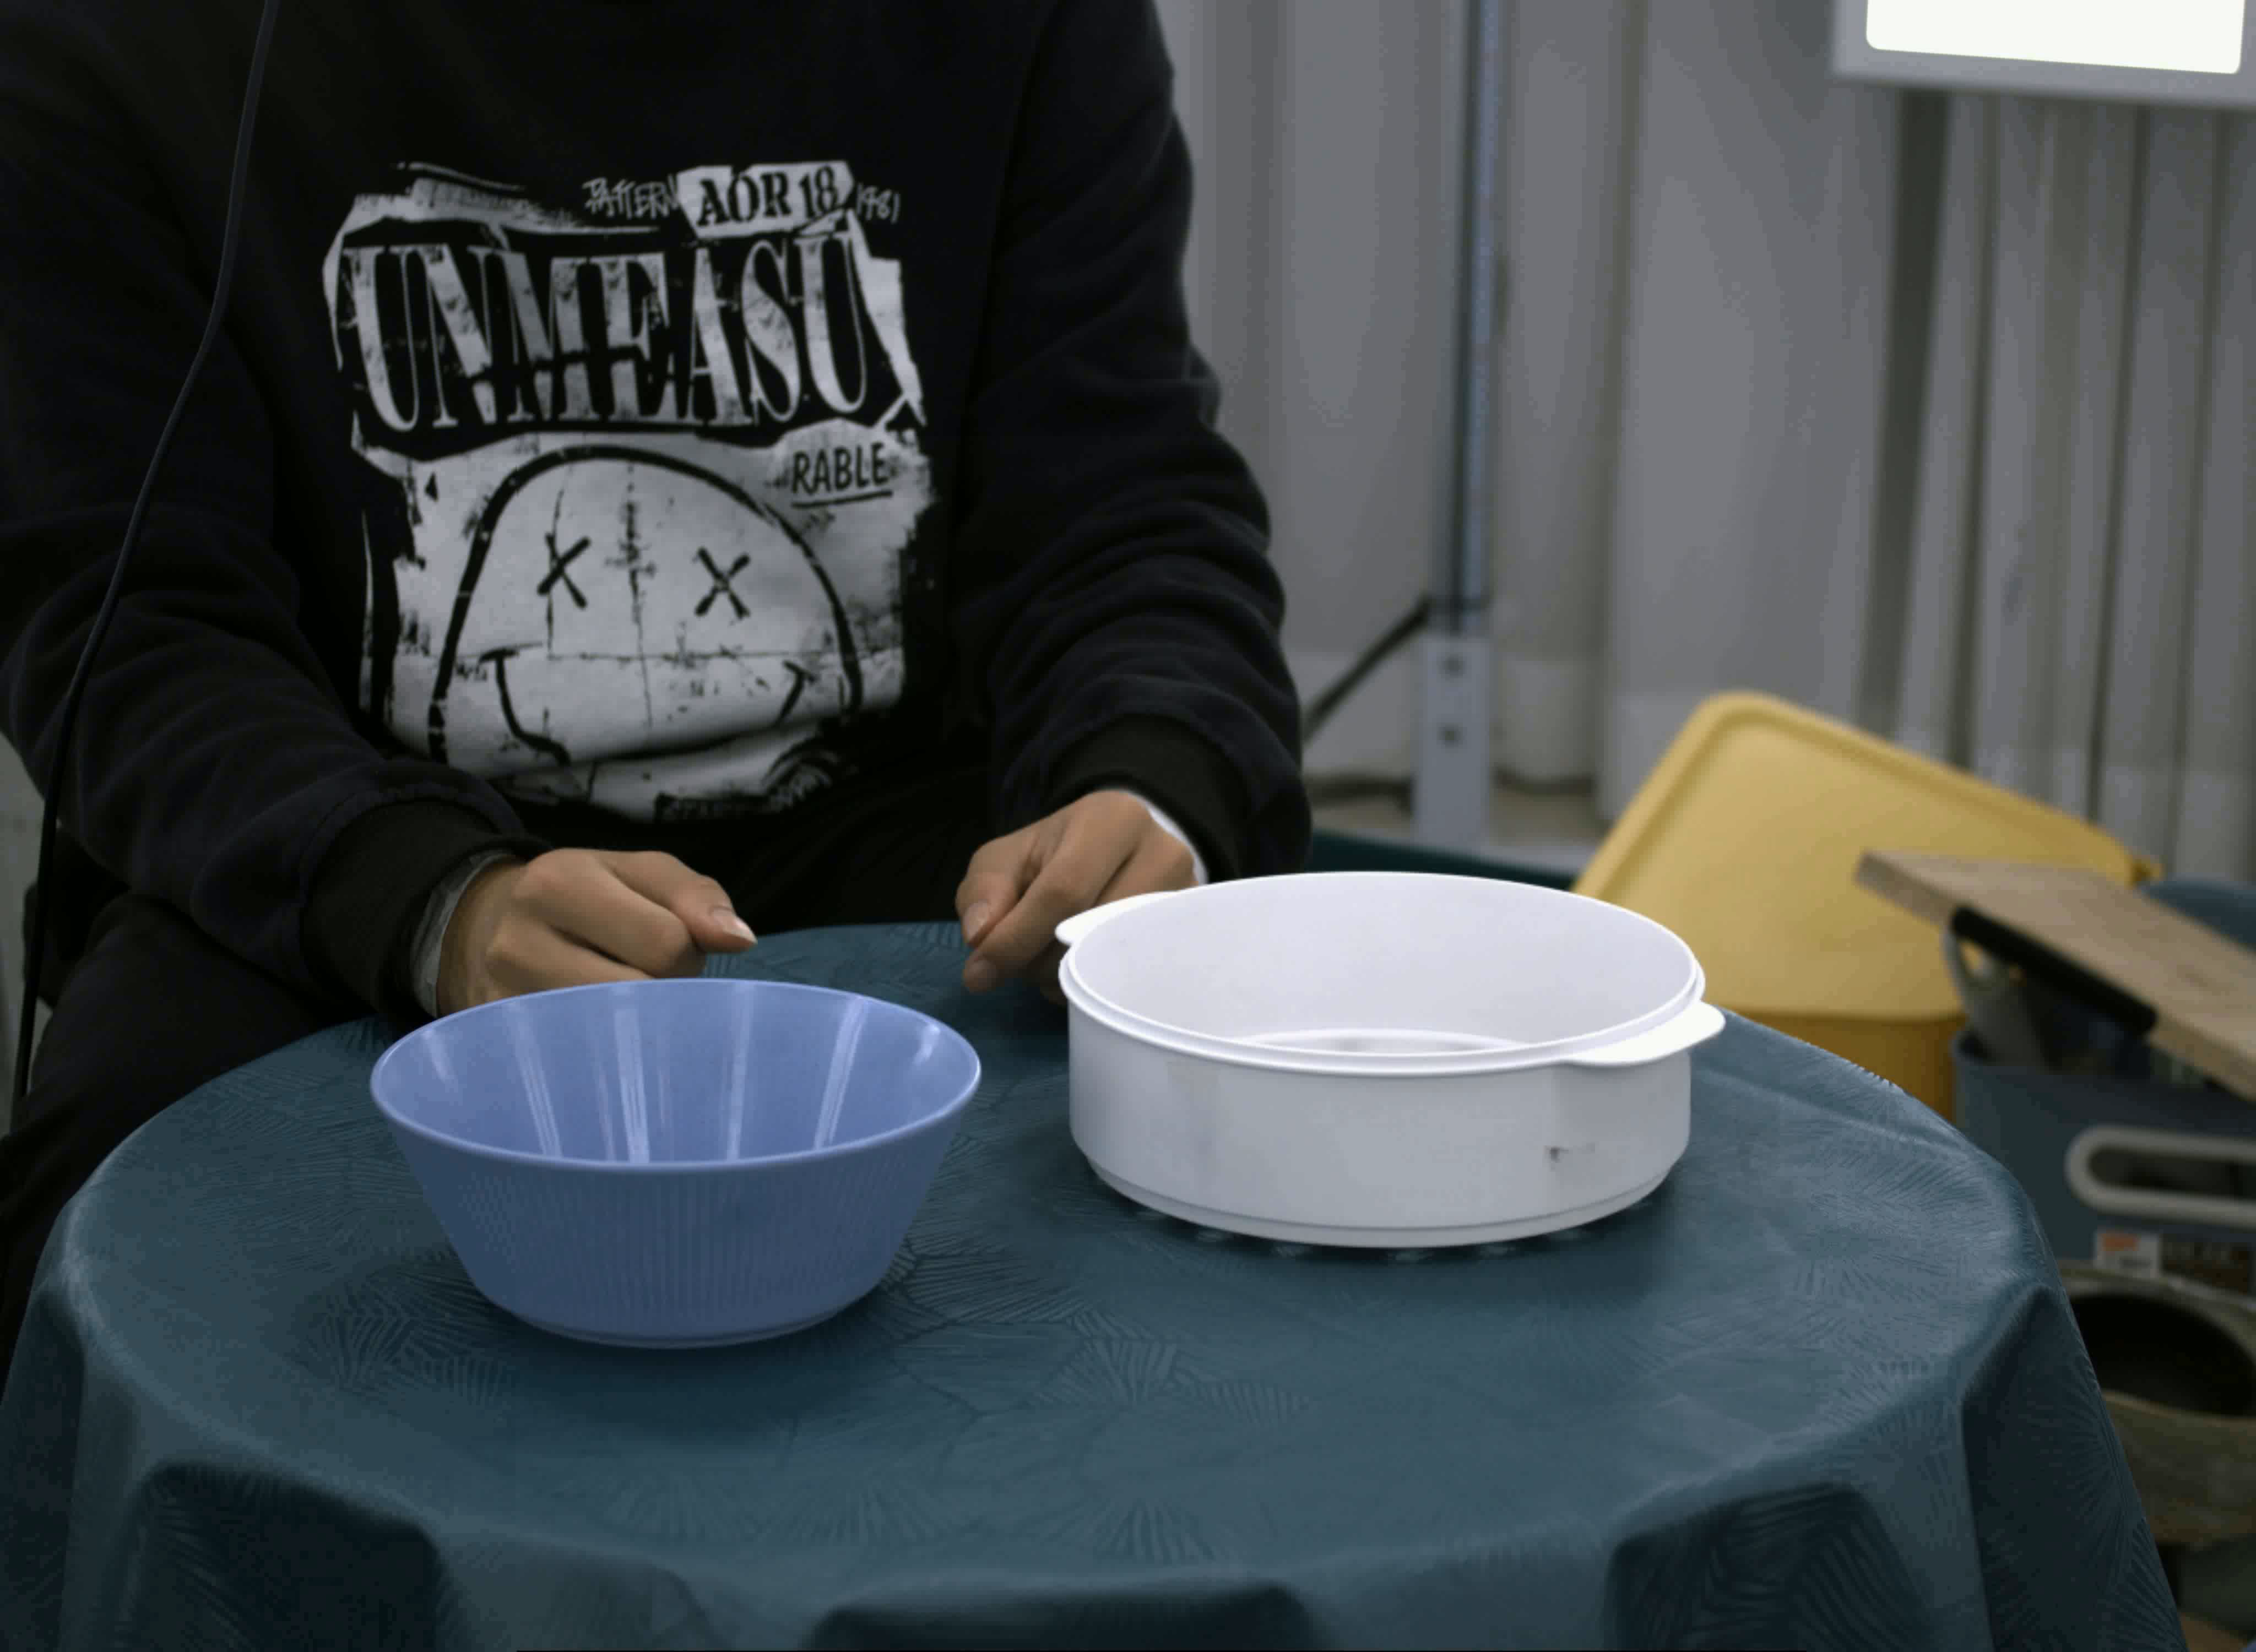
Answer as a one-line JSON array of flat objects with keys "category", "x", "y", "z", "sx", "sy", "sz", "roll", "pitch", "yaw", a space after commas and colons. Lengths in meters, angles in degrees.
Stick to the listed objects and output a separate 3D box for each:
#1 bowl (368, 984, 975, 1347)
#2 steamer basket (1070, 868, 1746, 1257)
[{"category": "bowl", "x": -0.132, "y": 0.101, "z": 1.531, "sx": 0.175, "sy": 0.071, "sz": 0.175, "roll": 2, "pitch": 15, "yaw": 0}, {"category": "steamer basket", "x": 0.083, "y": 0.073, "z": 1.642, "sx": 0.227, "sy": 0.070, "sz": 0.203, "roll": 15, "pitch": 21, "yaw": 35}]
